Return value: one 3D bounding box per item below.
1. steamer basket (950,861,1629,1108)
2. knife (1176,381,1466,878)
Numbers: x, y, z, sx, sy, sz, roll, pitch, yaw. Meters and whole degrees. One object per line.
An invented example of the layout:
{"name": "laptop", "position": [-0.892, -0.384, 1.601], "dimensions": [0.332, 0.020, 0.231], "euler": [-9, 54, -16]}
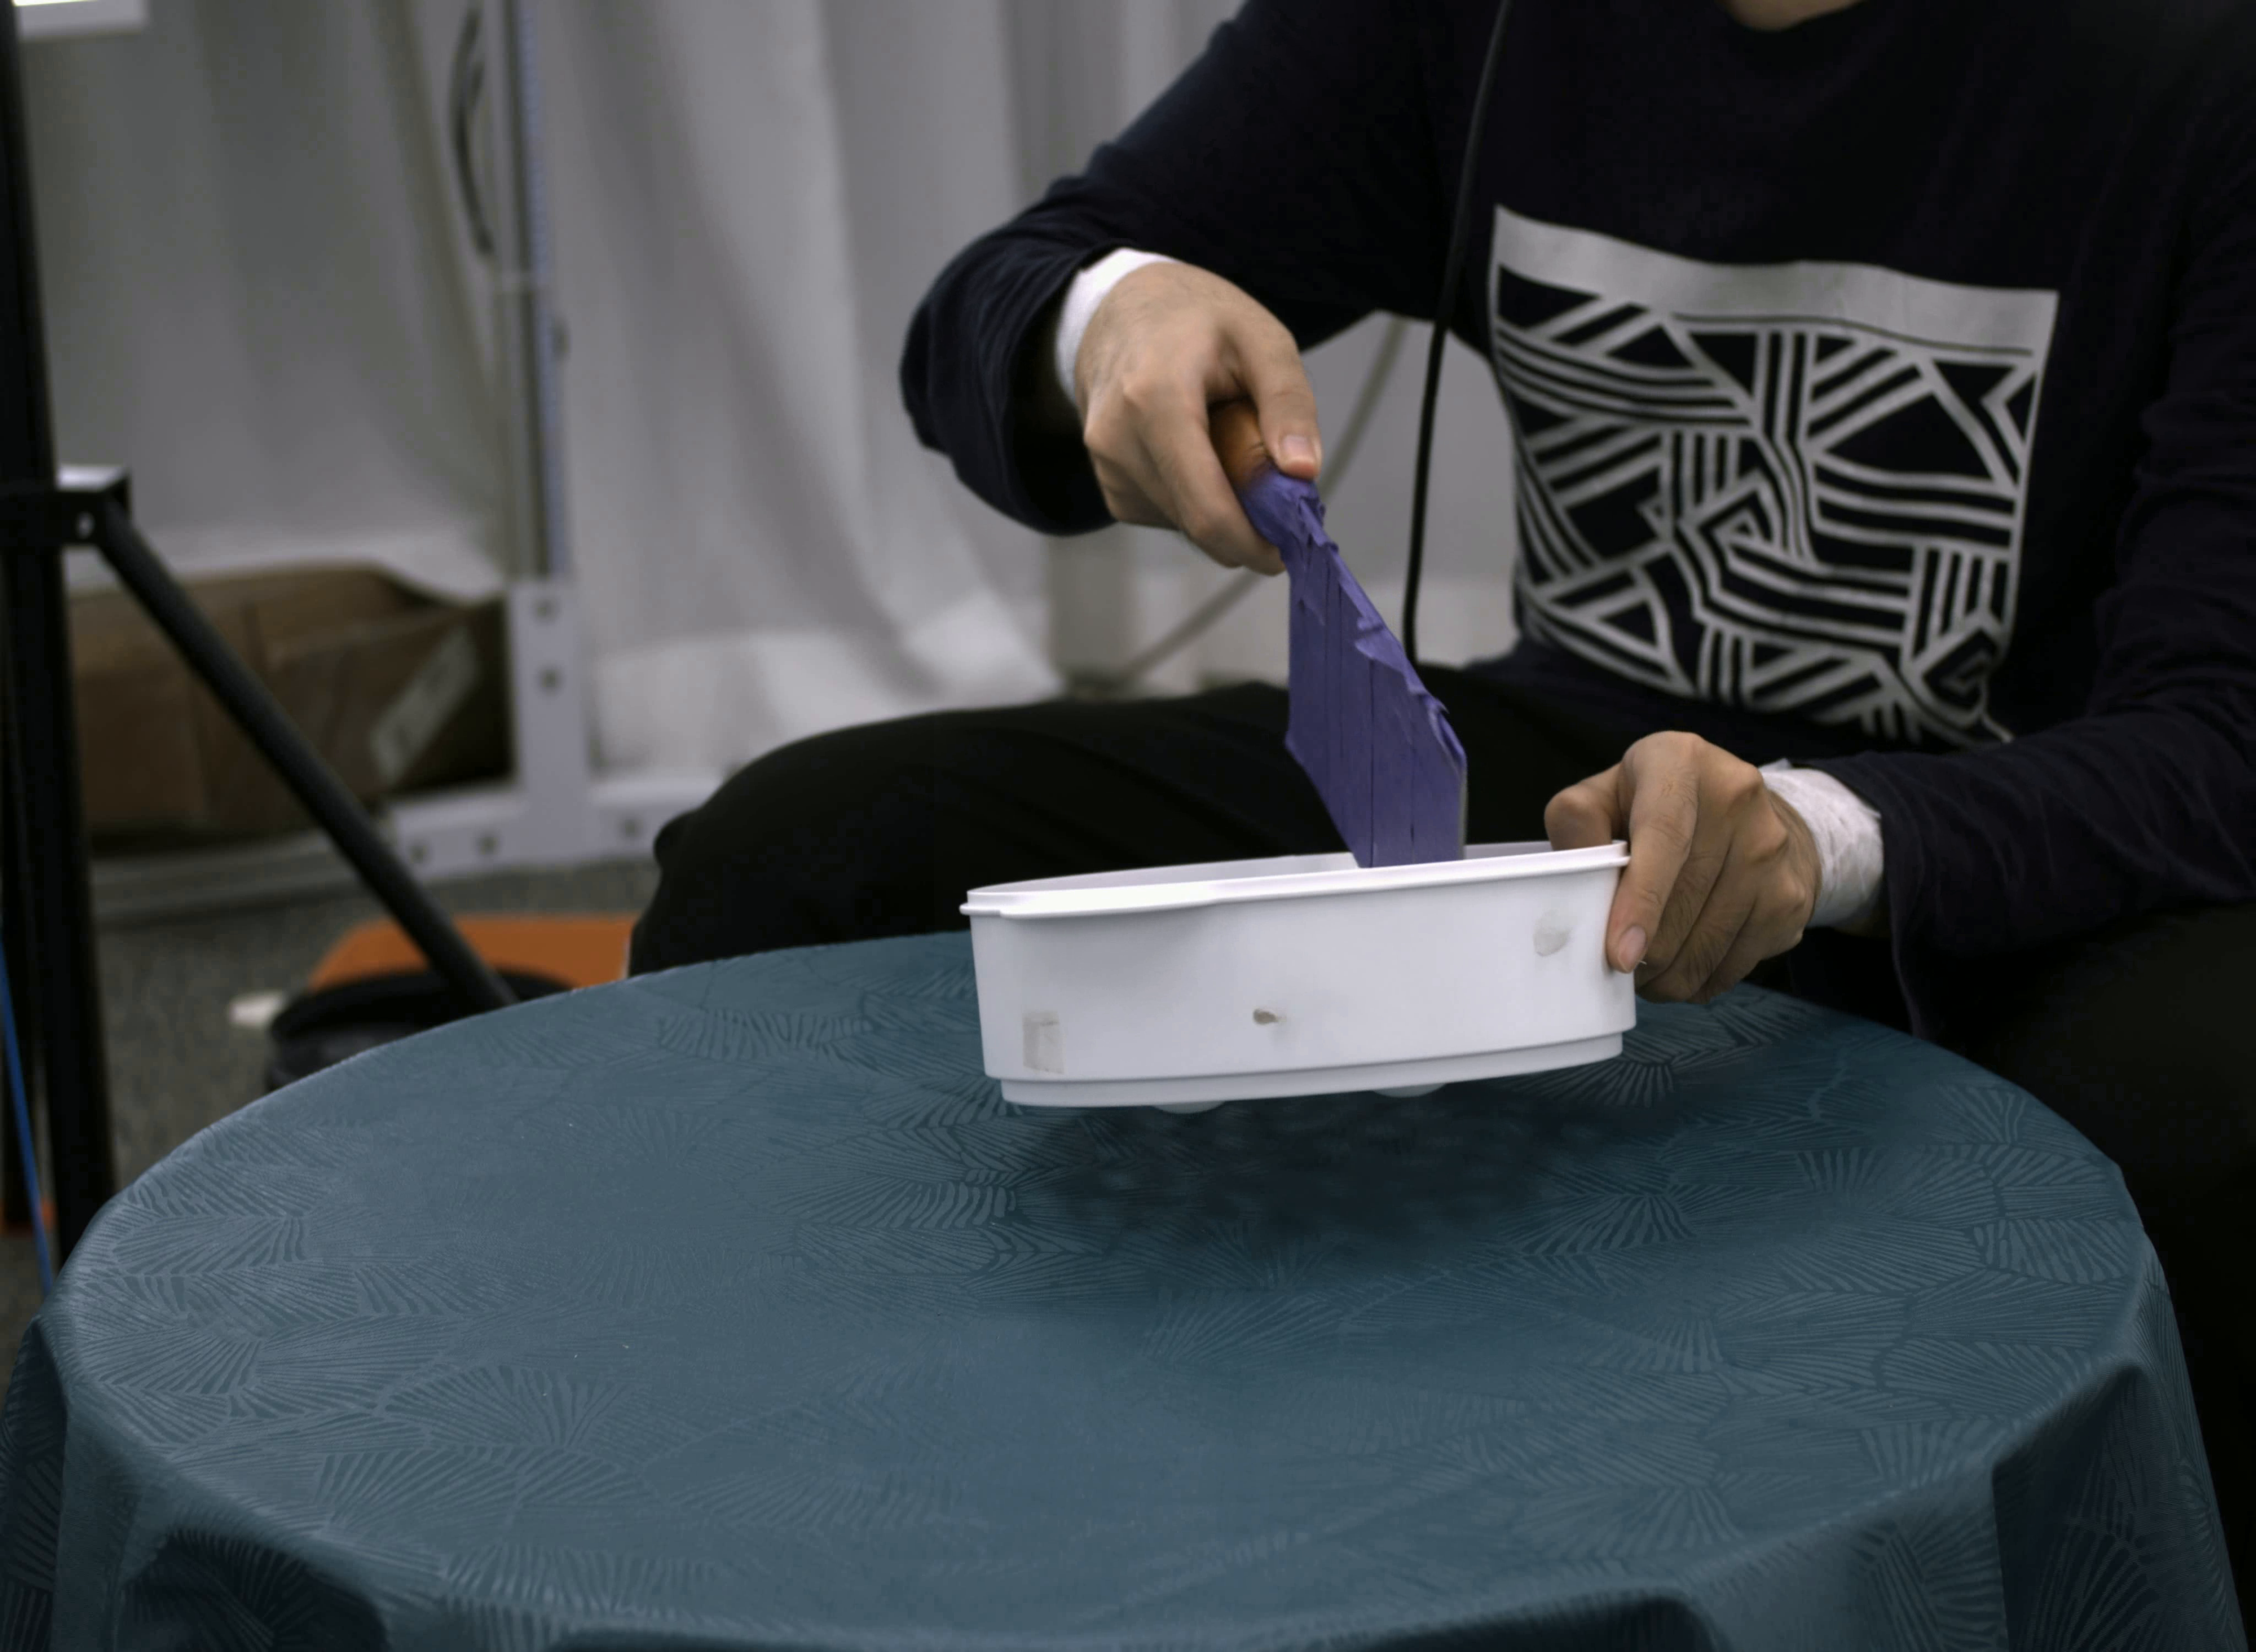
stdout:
{"name": "steamer basket", "position": [0.048, 0.046, 1.569], "dimensions": [0.206, 0.069, 0.225], "euler": [-2, -1, 38]}
{"name": "knife", "position": [0.058, -0.045, 1.650], "dimensions": [0.032, 0.104, 0.319], "euler": [-2, 24, -10]}
